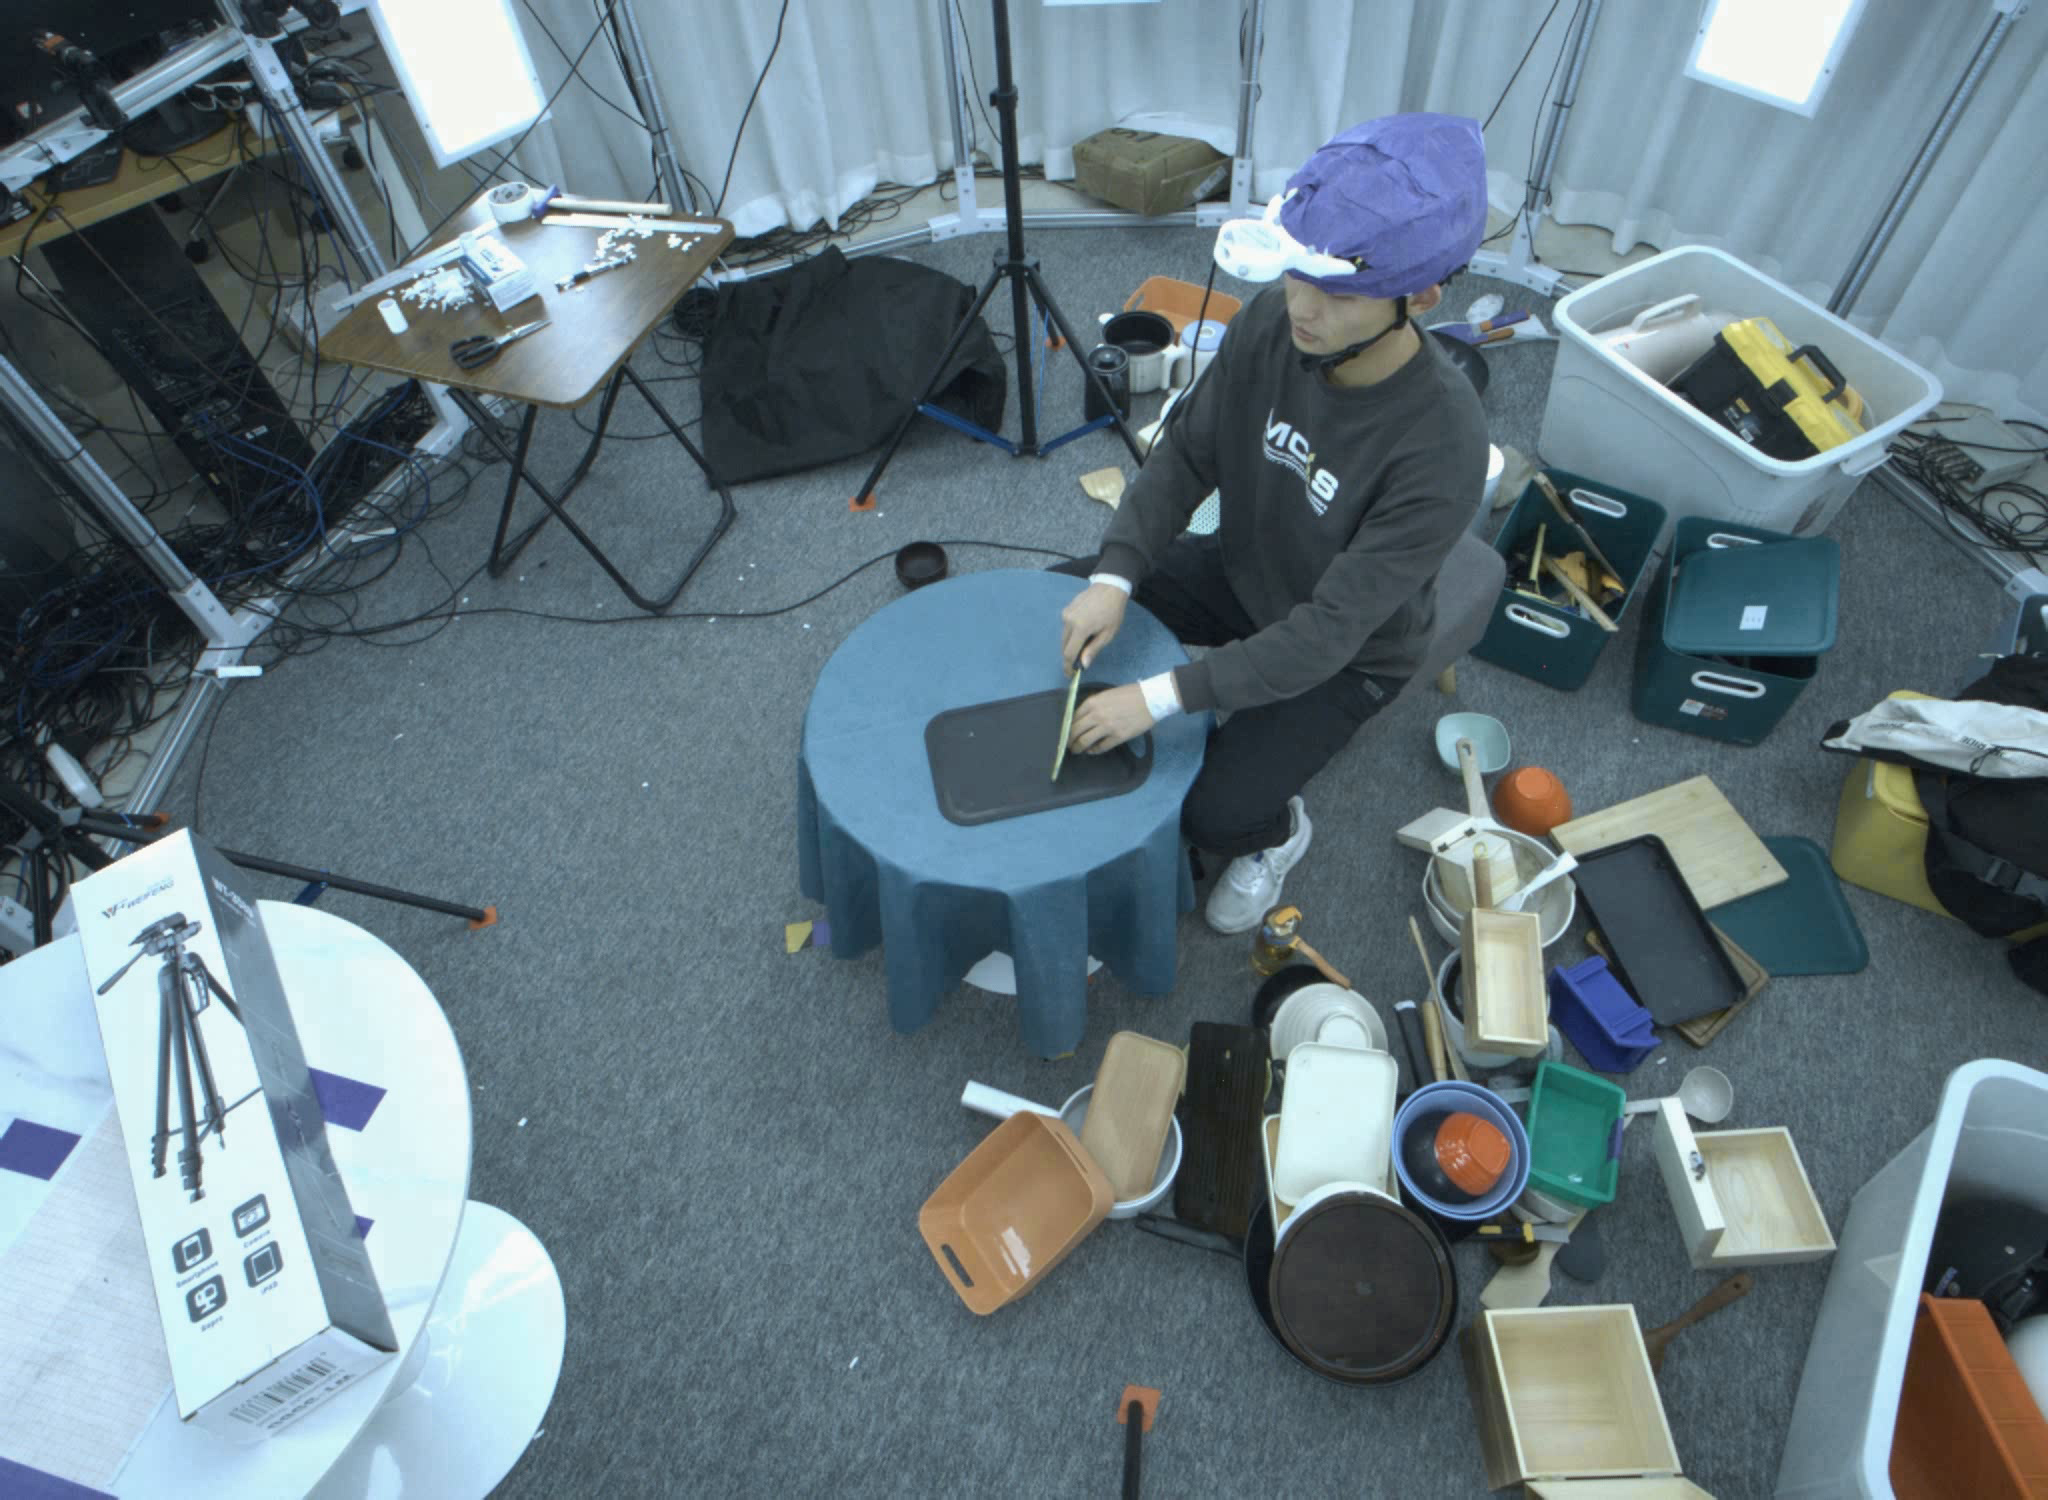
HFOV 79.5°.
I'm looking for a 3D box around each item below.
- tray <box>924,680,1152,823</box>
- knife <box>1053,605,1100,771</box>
[{"bbox_3d":[0.023,-0.005,1.793,0.327,0.010,0.208,-11,55,-6],"label":"tray"},{"bbox_3d":[0.074,-0.092,1.808,0.027,0.081,0.288,18,60,-6],"label":"knife"}]
